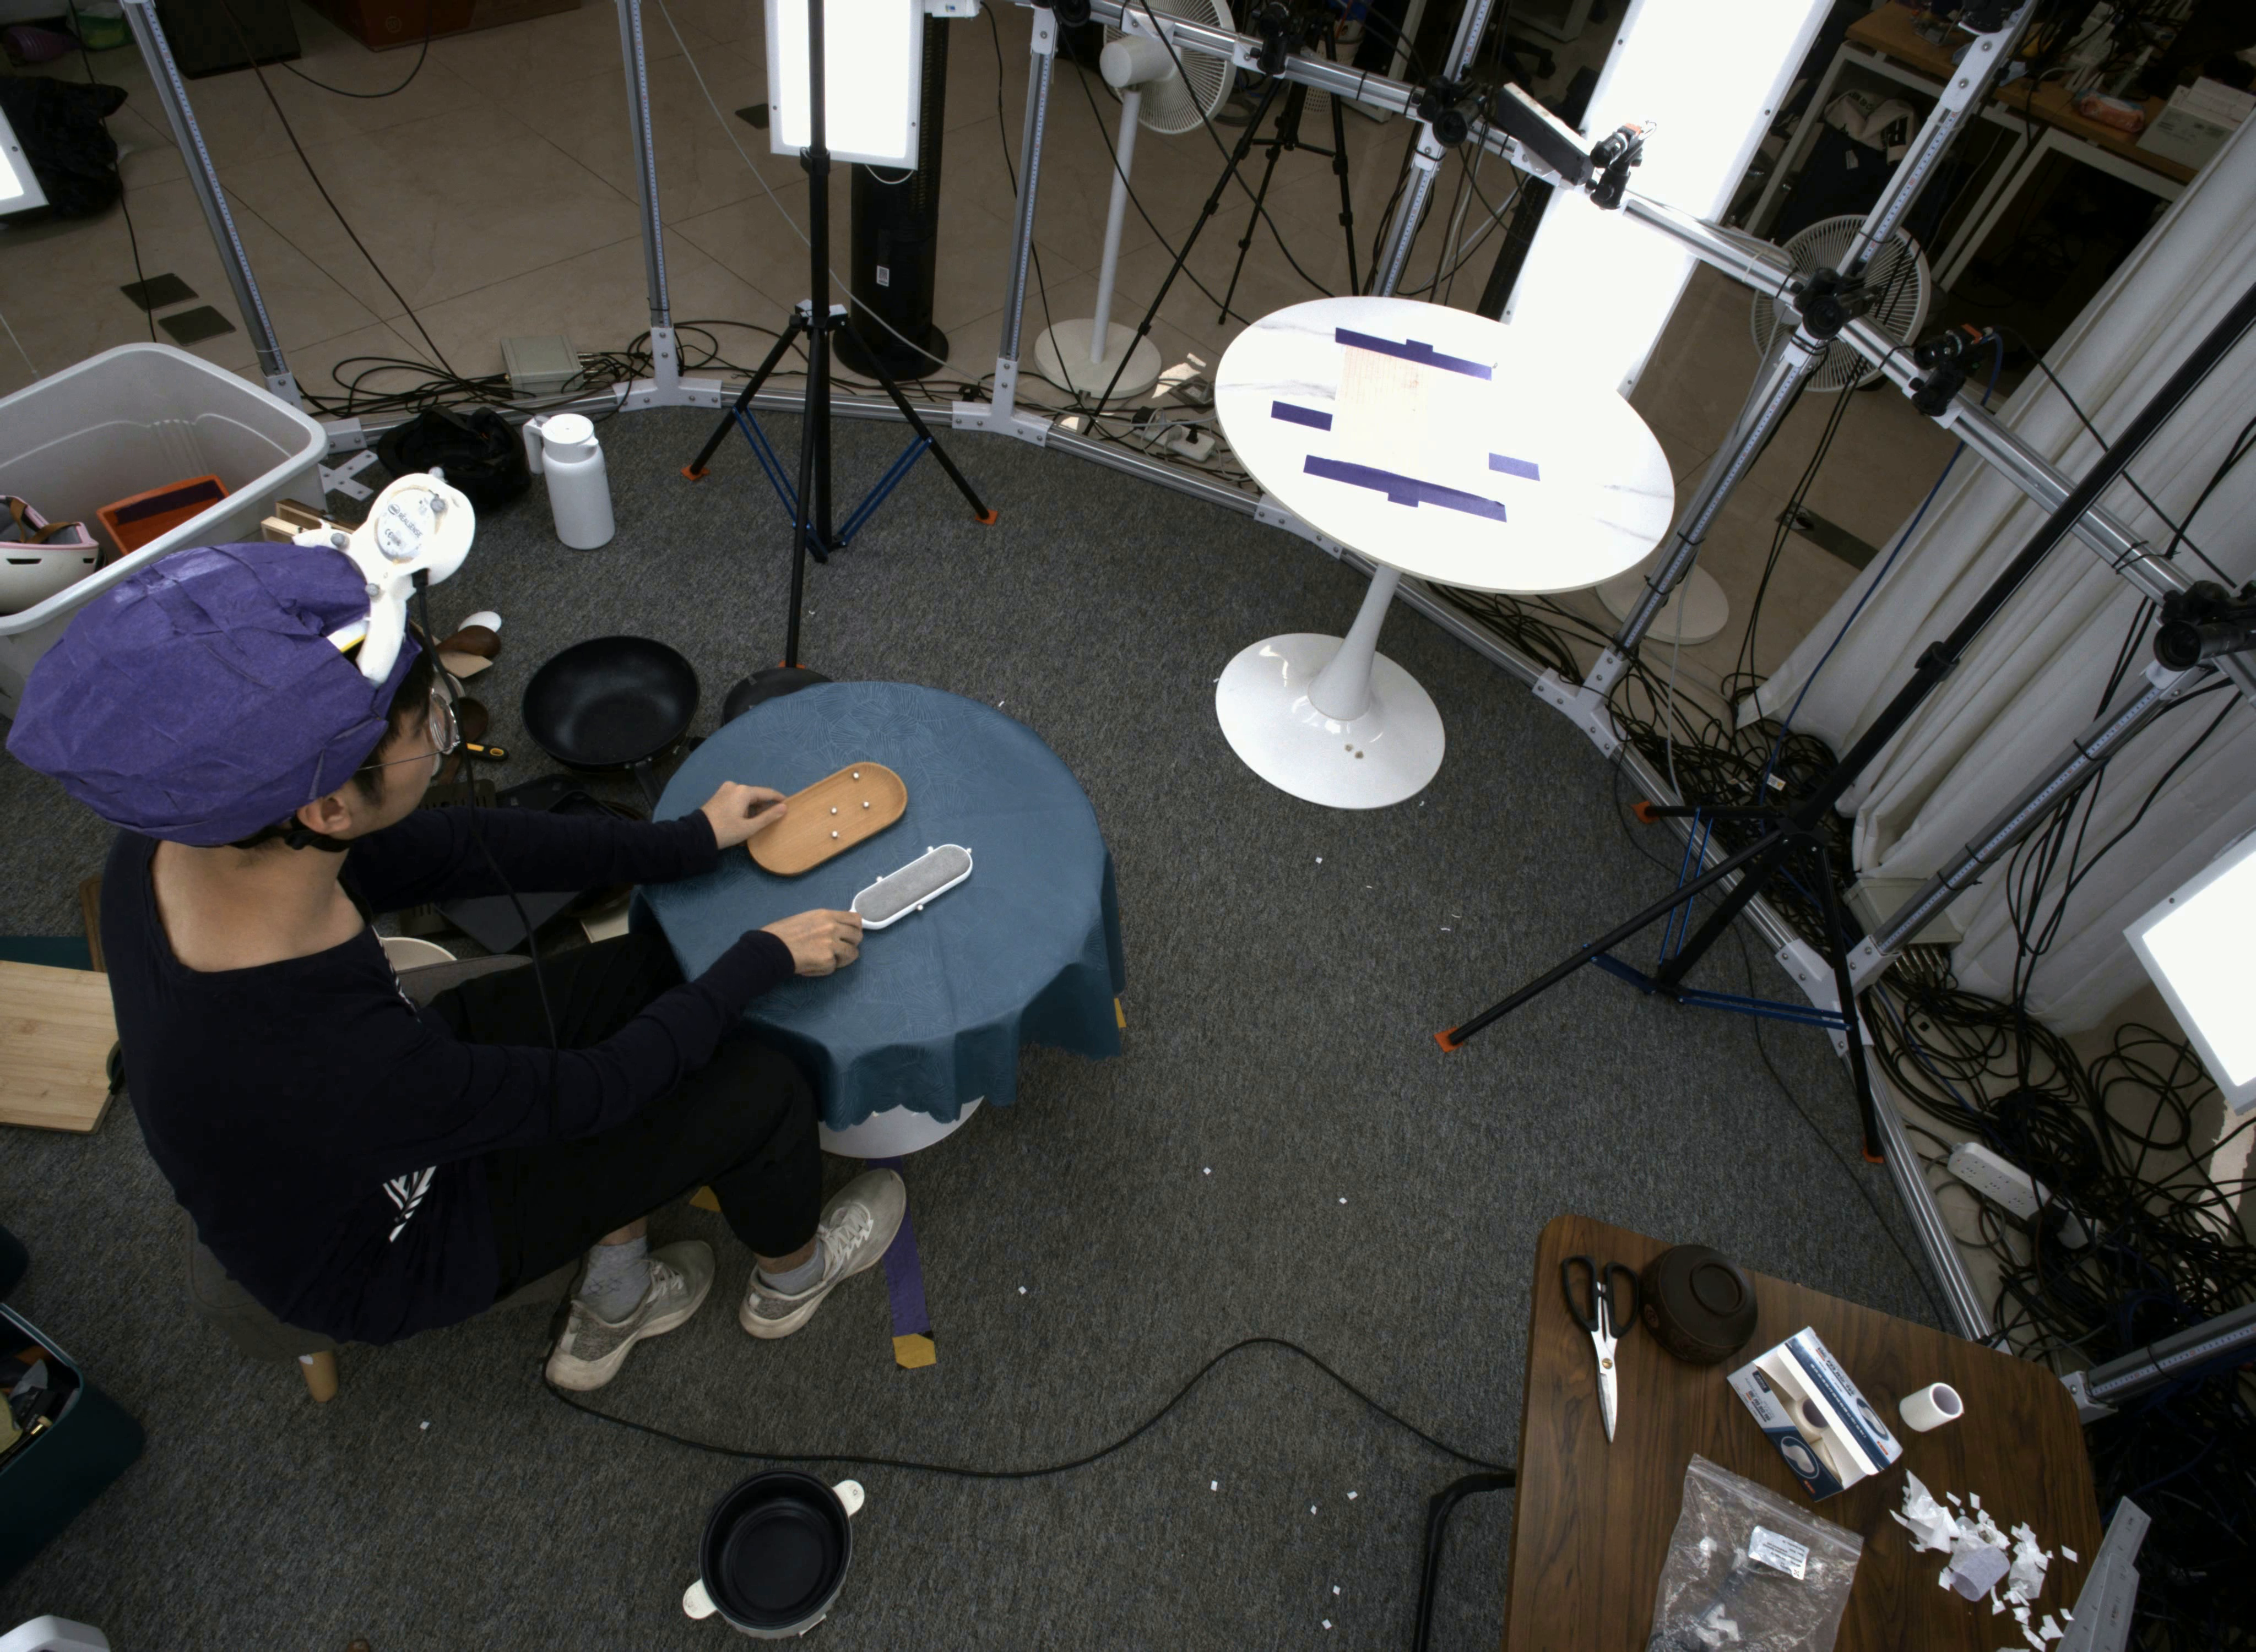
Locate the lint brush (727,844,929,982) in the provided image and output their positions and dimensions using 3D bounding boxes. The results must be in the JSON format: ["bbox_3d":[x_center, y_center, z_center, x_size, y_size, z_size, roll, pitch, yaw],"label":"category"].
[{"bbox_3d":[-0.377,0.106,1.644,0.310,0.021,0.059,-35,76,-35],"label":"lint brush"}]

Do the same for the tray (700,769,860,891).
[{"bbox_3d":[-0.456,0.003,1.703,0.100,0.020,0.231,46,58,11],"label":"tray"}]
